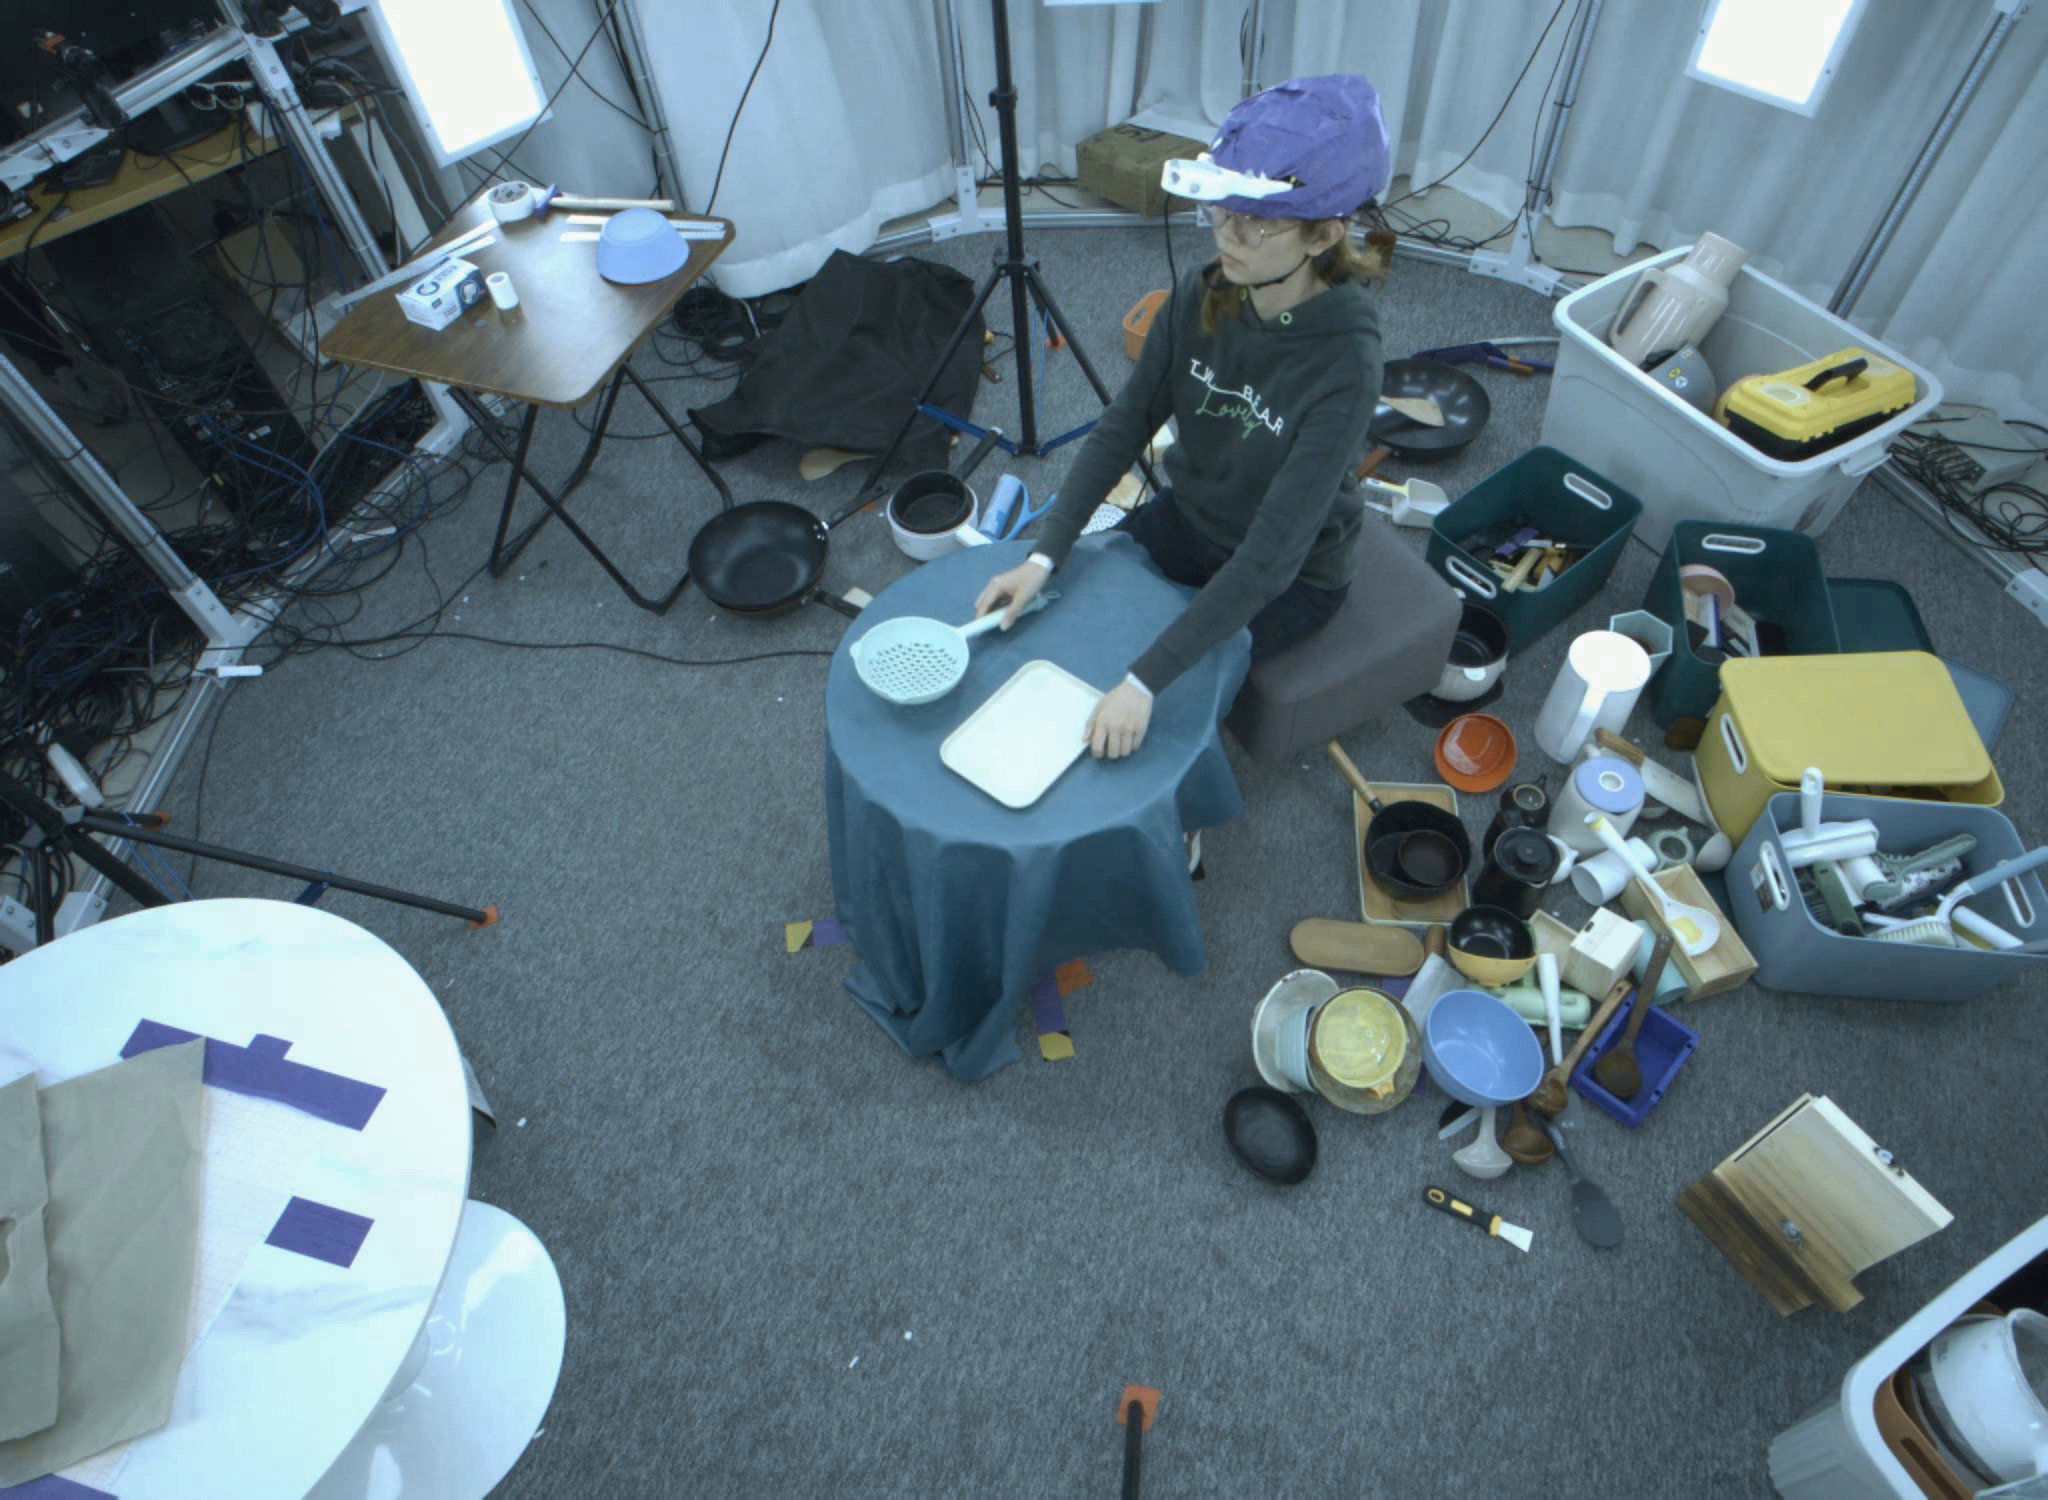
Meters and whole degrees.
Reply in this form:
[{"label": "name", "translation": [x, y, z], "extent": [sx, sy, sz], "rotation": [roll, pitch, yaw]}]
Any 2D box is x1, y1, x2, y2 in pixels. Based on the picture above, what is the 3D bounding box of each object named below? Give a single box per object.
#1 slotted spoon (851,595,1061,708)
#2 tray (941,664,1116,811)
[{"label": "slotted spoon", "translation": [-0.089, -0.171, 1.881], "extent": [0.362, 0.076, 0.166], "rotation": [-33, 60, -20]}, {"label": "tray", "translation": [0.008, -0.020, 1.801], "extent": [0.168, 0.017, 0.241], "rotation": [33, 61, 22]}]
